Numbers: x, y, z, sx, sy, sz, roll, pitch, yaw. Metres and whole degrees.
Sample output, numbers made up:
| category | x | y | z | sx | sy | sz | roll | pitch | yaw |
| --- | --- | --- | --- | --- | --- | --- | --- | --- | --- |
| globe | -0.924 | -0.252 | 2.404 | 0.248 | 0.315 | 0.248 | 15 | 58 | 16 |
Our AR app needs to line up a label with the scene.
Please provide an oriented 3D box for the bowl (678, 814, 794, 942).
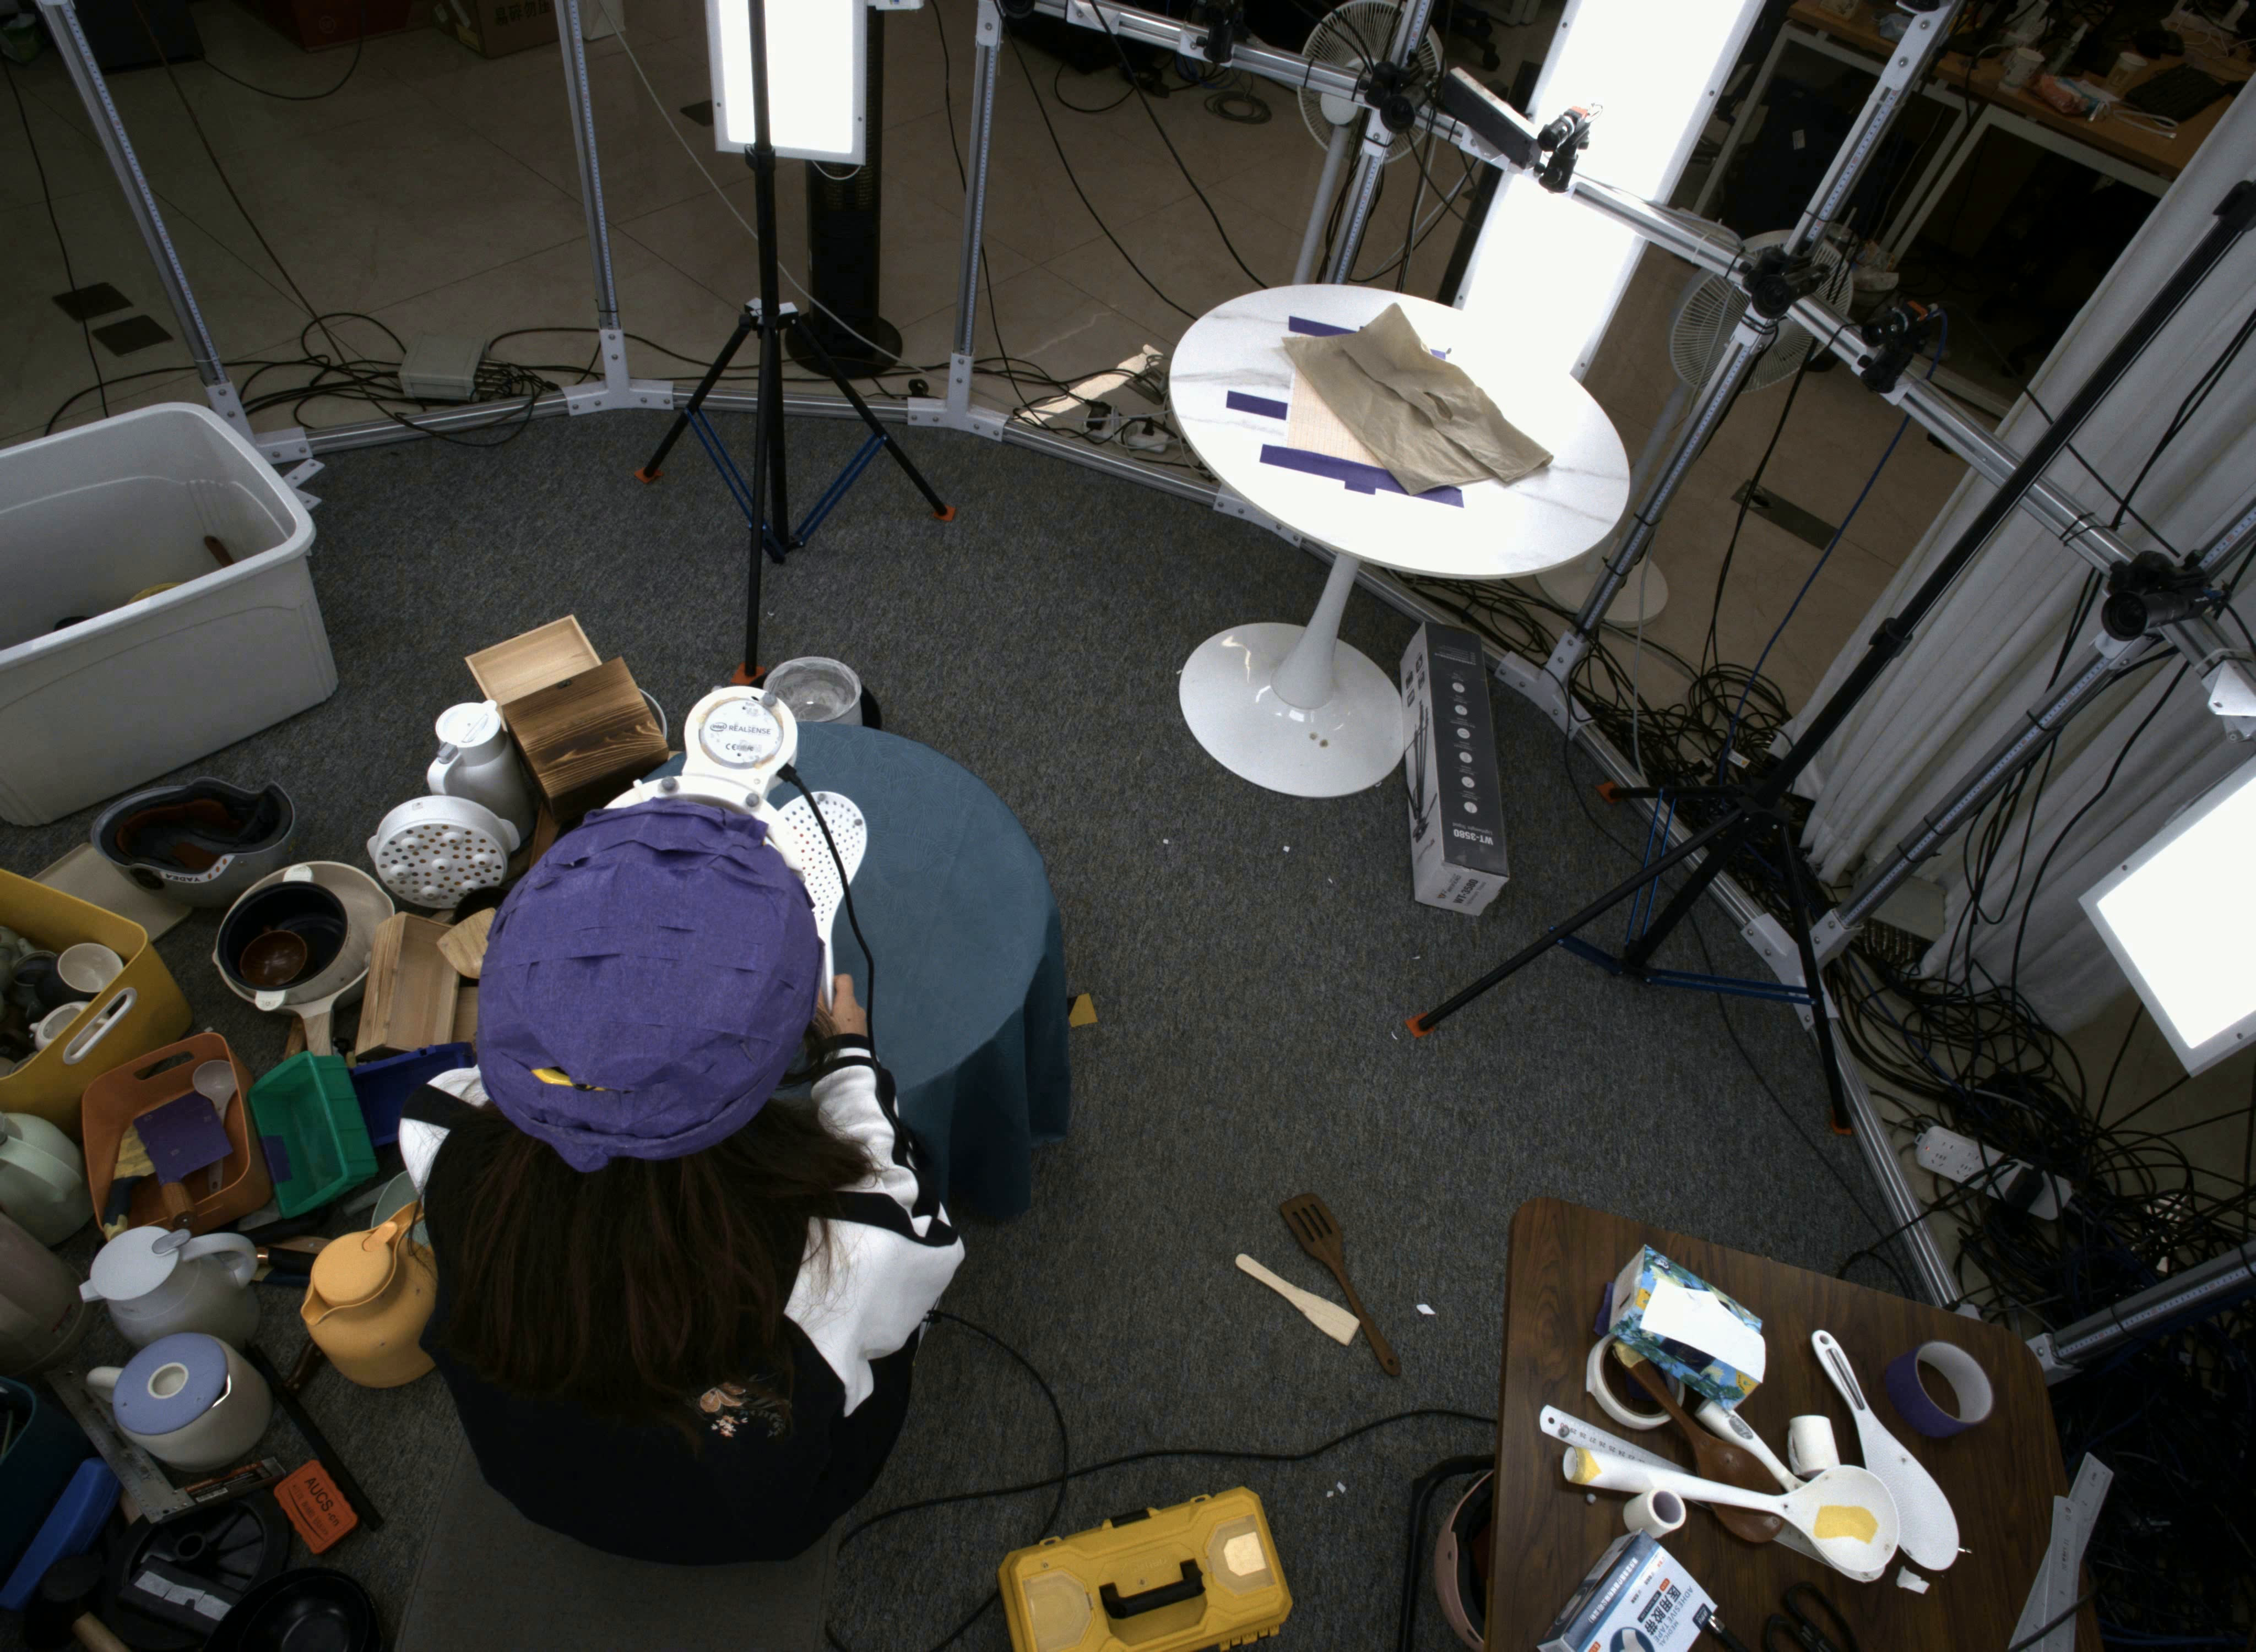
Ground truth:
| category | x | y | z | sx | sy | sz | roll | pitch | yaw |
| --- | --- | --- | --- | --- | --- | --- | --- | --- | --- |
| bowl | -0.465 | 0.073 | 1.563 | 0.148 | 0.106 | 0.145 | 10 | 48 | -10 |

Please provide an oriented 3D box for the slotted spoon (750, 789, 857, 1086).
| category | x | y | z | sx | sy | sz | roll | pitch | yaw |
| --- | --- | --- | --- | --- | --- | --- | --- | --- | --- |
| slotted spoon | -0.360 | 0.119 | 1.473 | 0.134 | 0.047 | 0.344 | -12 | 63 | 7 |
